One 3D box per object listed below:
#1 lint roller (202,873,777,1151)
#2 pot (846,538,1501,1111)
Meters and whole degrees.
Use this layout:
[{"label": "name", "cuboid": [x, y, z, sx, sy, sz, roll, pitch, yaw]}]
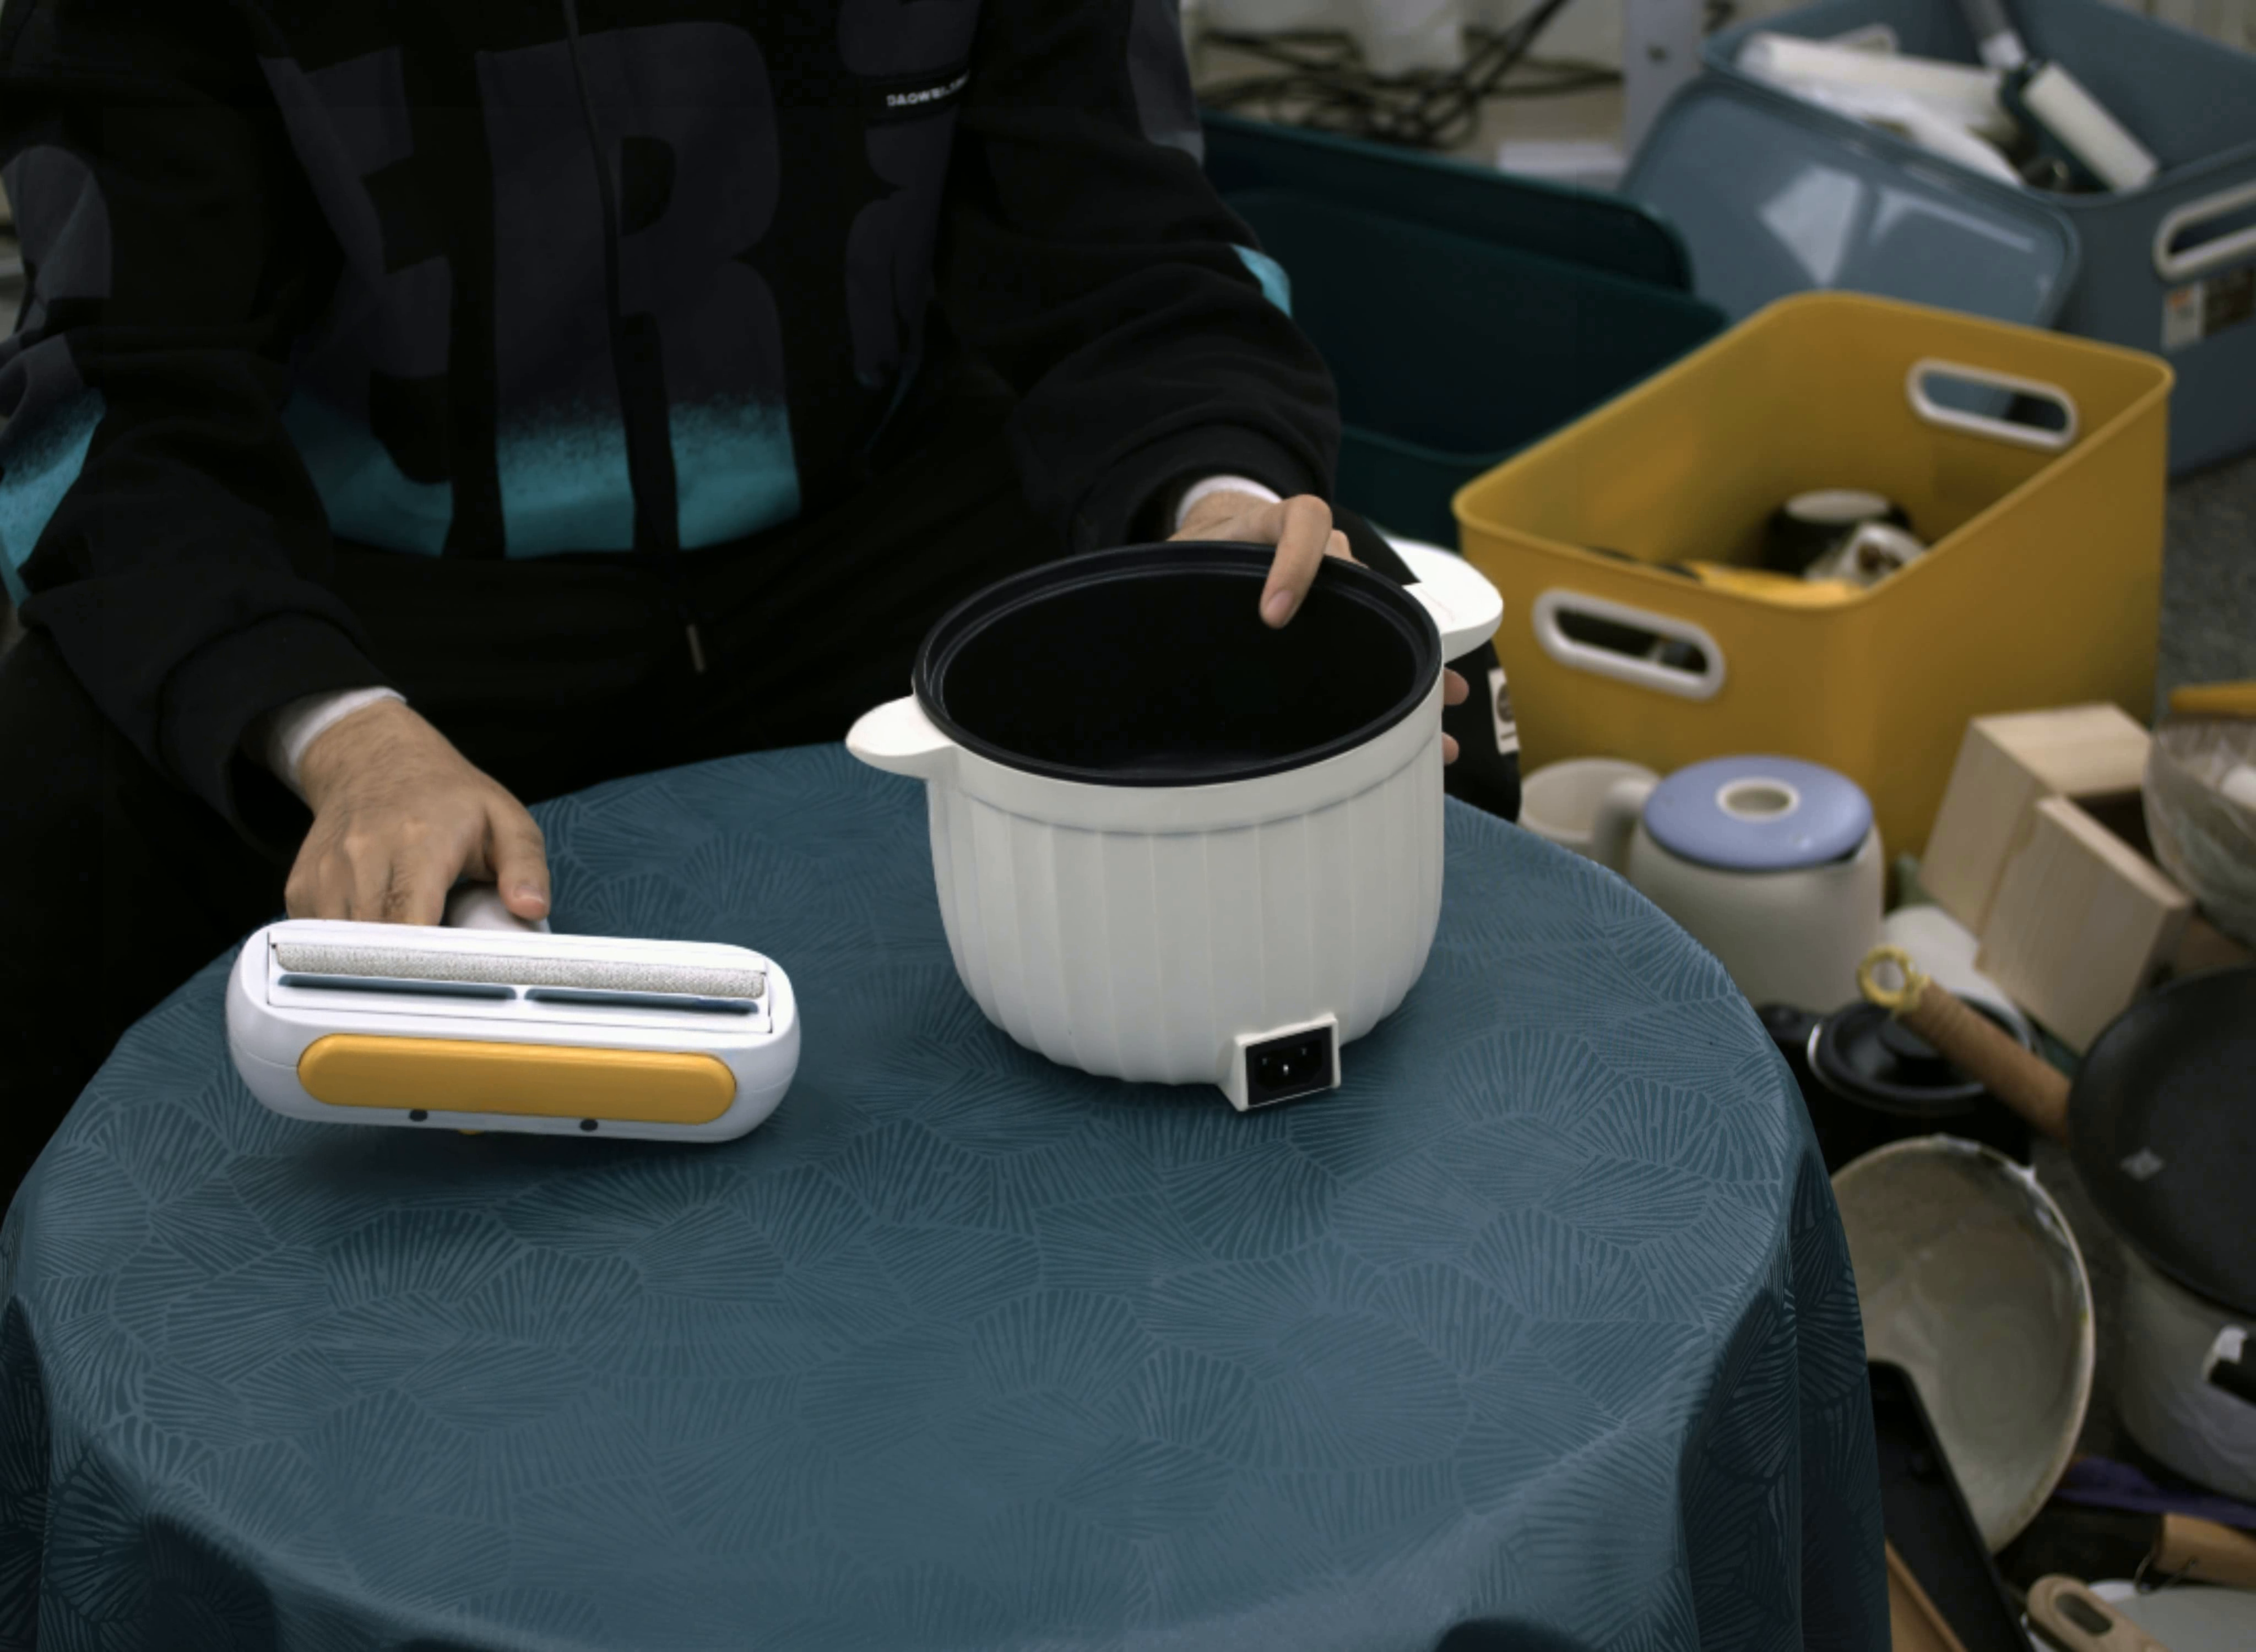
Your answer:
[{"label": "lint roller", "cuboid": [-0.219, 0.050, 1.946, 0.192, 0.073, 0.195, 2, 25, -6]}, {"label": "pot", "cuboid": [0.017, -0.002, 1.947, 0.241, 0.141, 0.192, -12, 31, -20]}]
